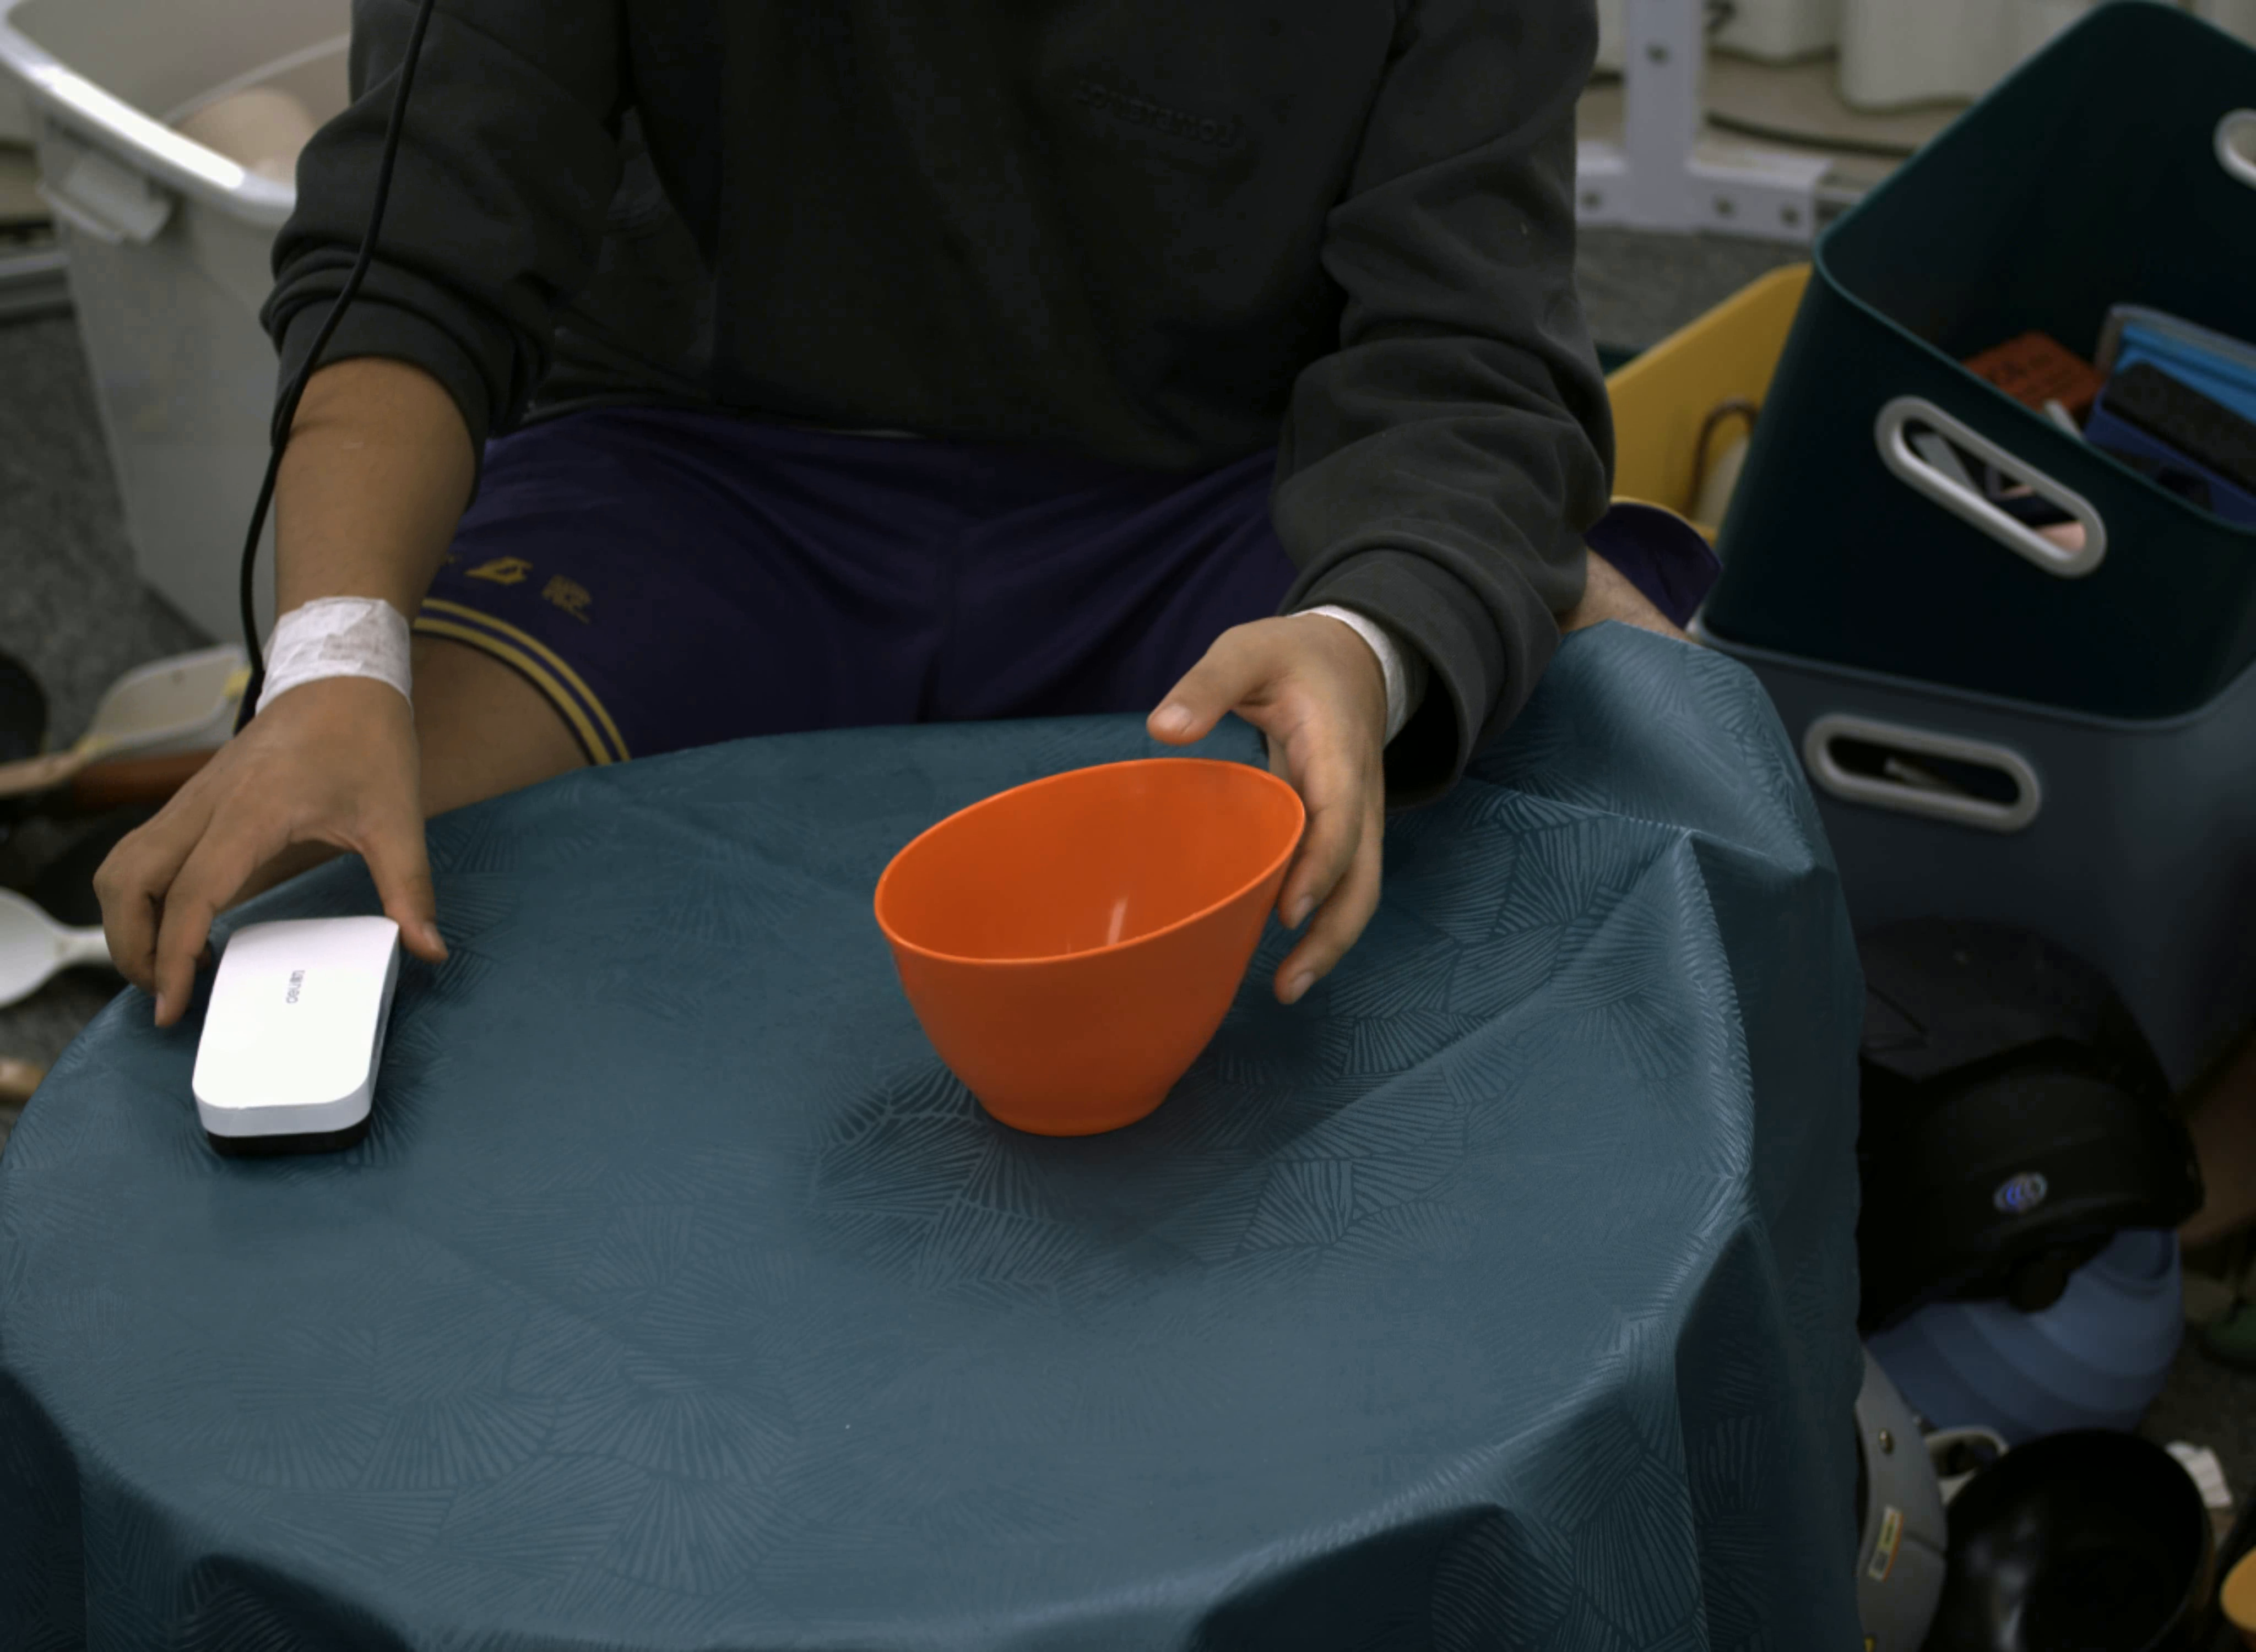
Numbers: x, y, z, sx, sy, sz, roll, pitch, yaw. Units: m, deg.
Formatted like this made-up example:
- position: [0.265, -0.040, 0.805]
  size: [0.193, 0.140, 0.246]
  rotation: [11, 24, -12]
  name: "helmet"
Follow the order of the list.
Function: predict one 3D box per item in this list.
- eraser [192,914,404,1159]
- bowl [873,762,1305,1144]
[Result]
- position: [-0.286, 0.070, 1.955]
  size: [0.063, 0.034, 0.133]
  rotation: [-1, 29, 2]
  name: "eraser"
- position: [-0.011, 0.048, 1.898]
  size: [0.147, 0.103, 0.150]
  rotation: [-3, 27, 2]
  name: "bowl"
